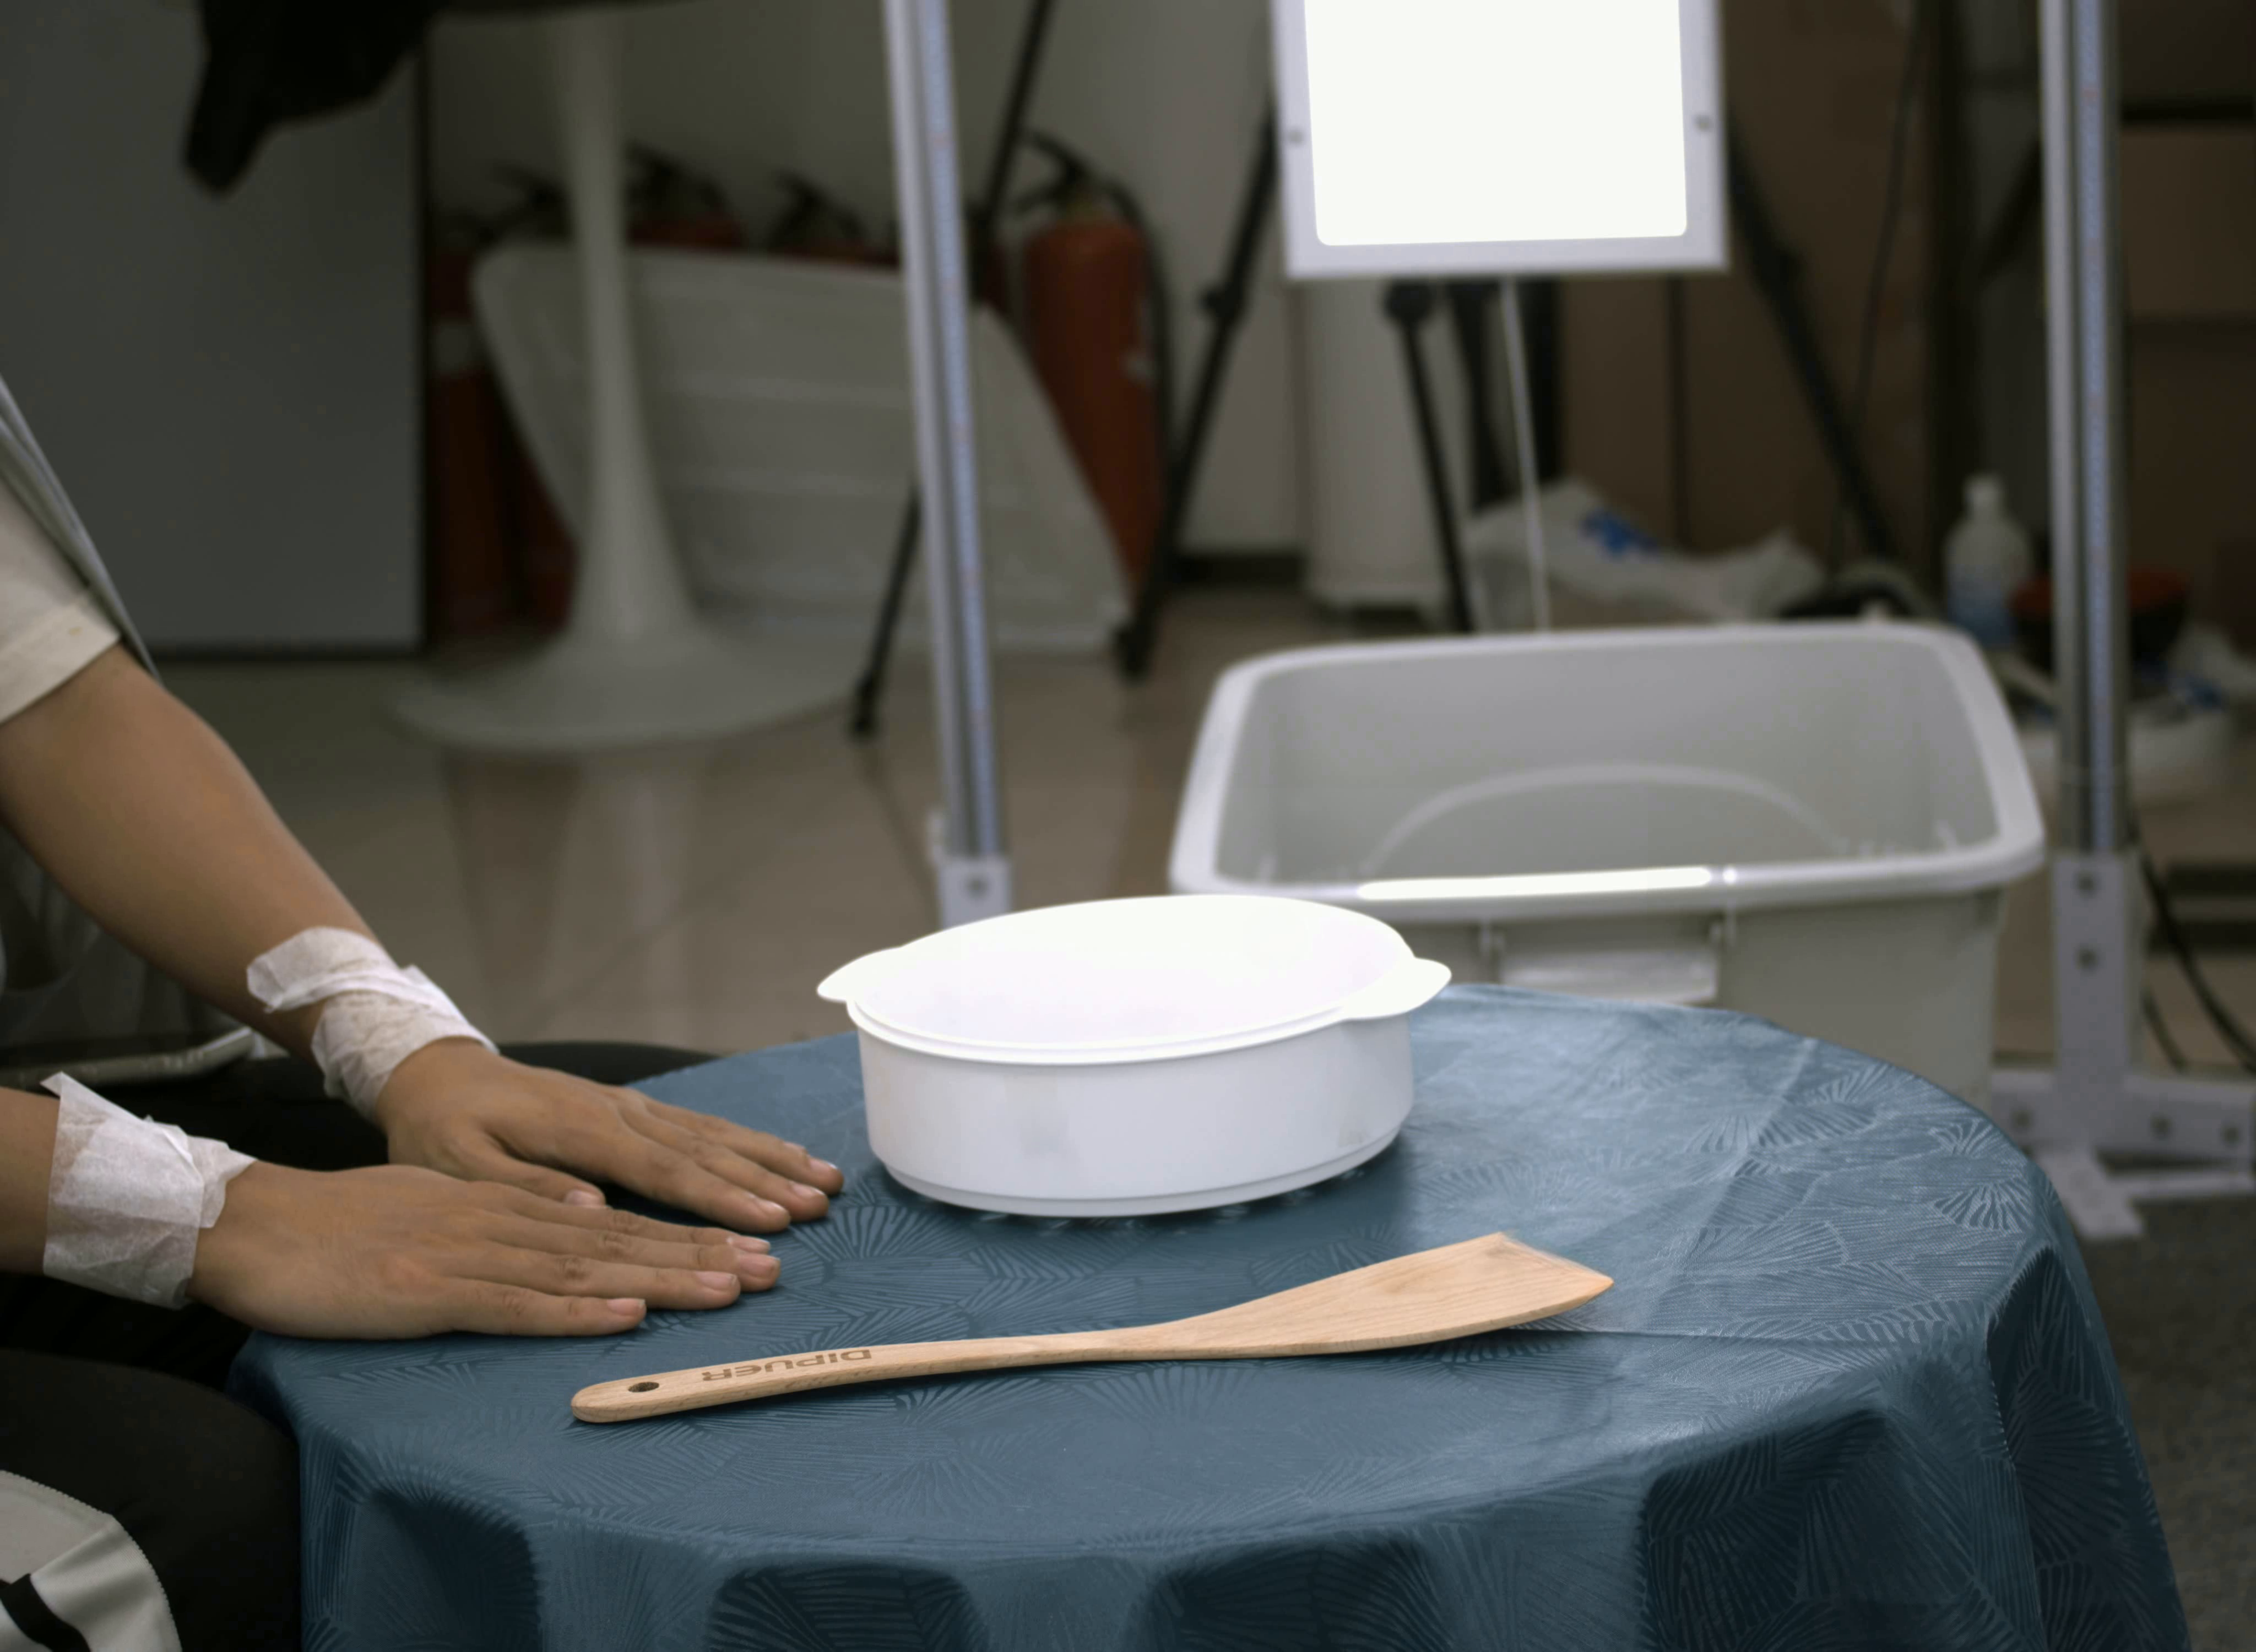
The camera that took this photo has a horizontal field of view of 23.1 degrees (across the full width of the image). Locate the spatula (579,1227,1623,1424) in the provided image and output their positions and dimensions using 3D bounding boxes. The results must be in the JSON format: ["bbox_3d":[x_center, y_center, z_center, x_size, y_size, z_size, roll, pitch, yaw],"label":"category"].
[{"bbox_3d":[-0.010,0.159,1.731,0.325,0.016,0.080,-7,13,-4],"label":"spatula"}]

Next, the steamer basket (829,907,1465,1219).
[{"bbox_3d":[0.008,0.083,1.936,0.234,0.069,0.198,0,13,24],"label":"steamer basket"}]
